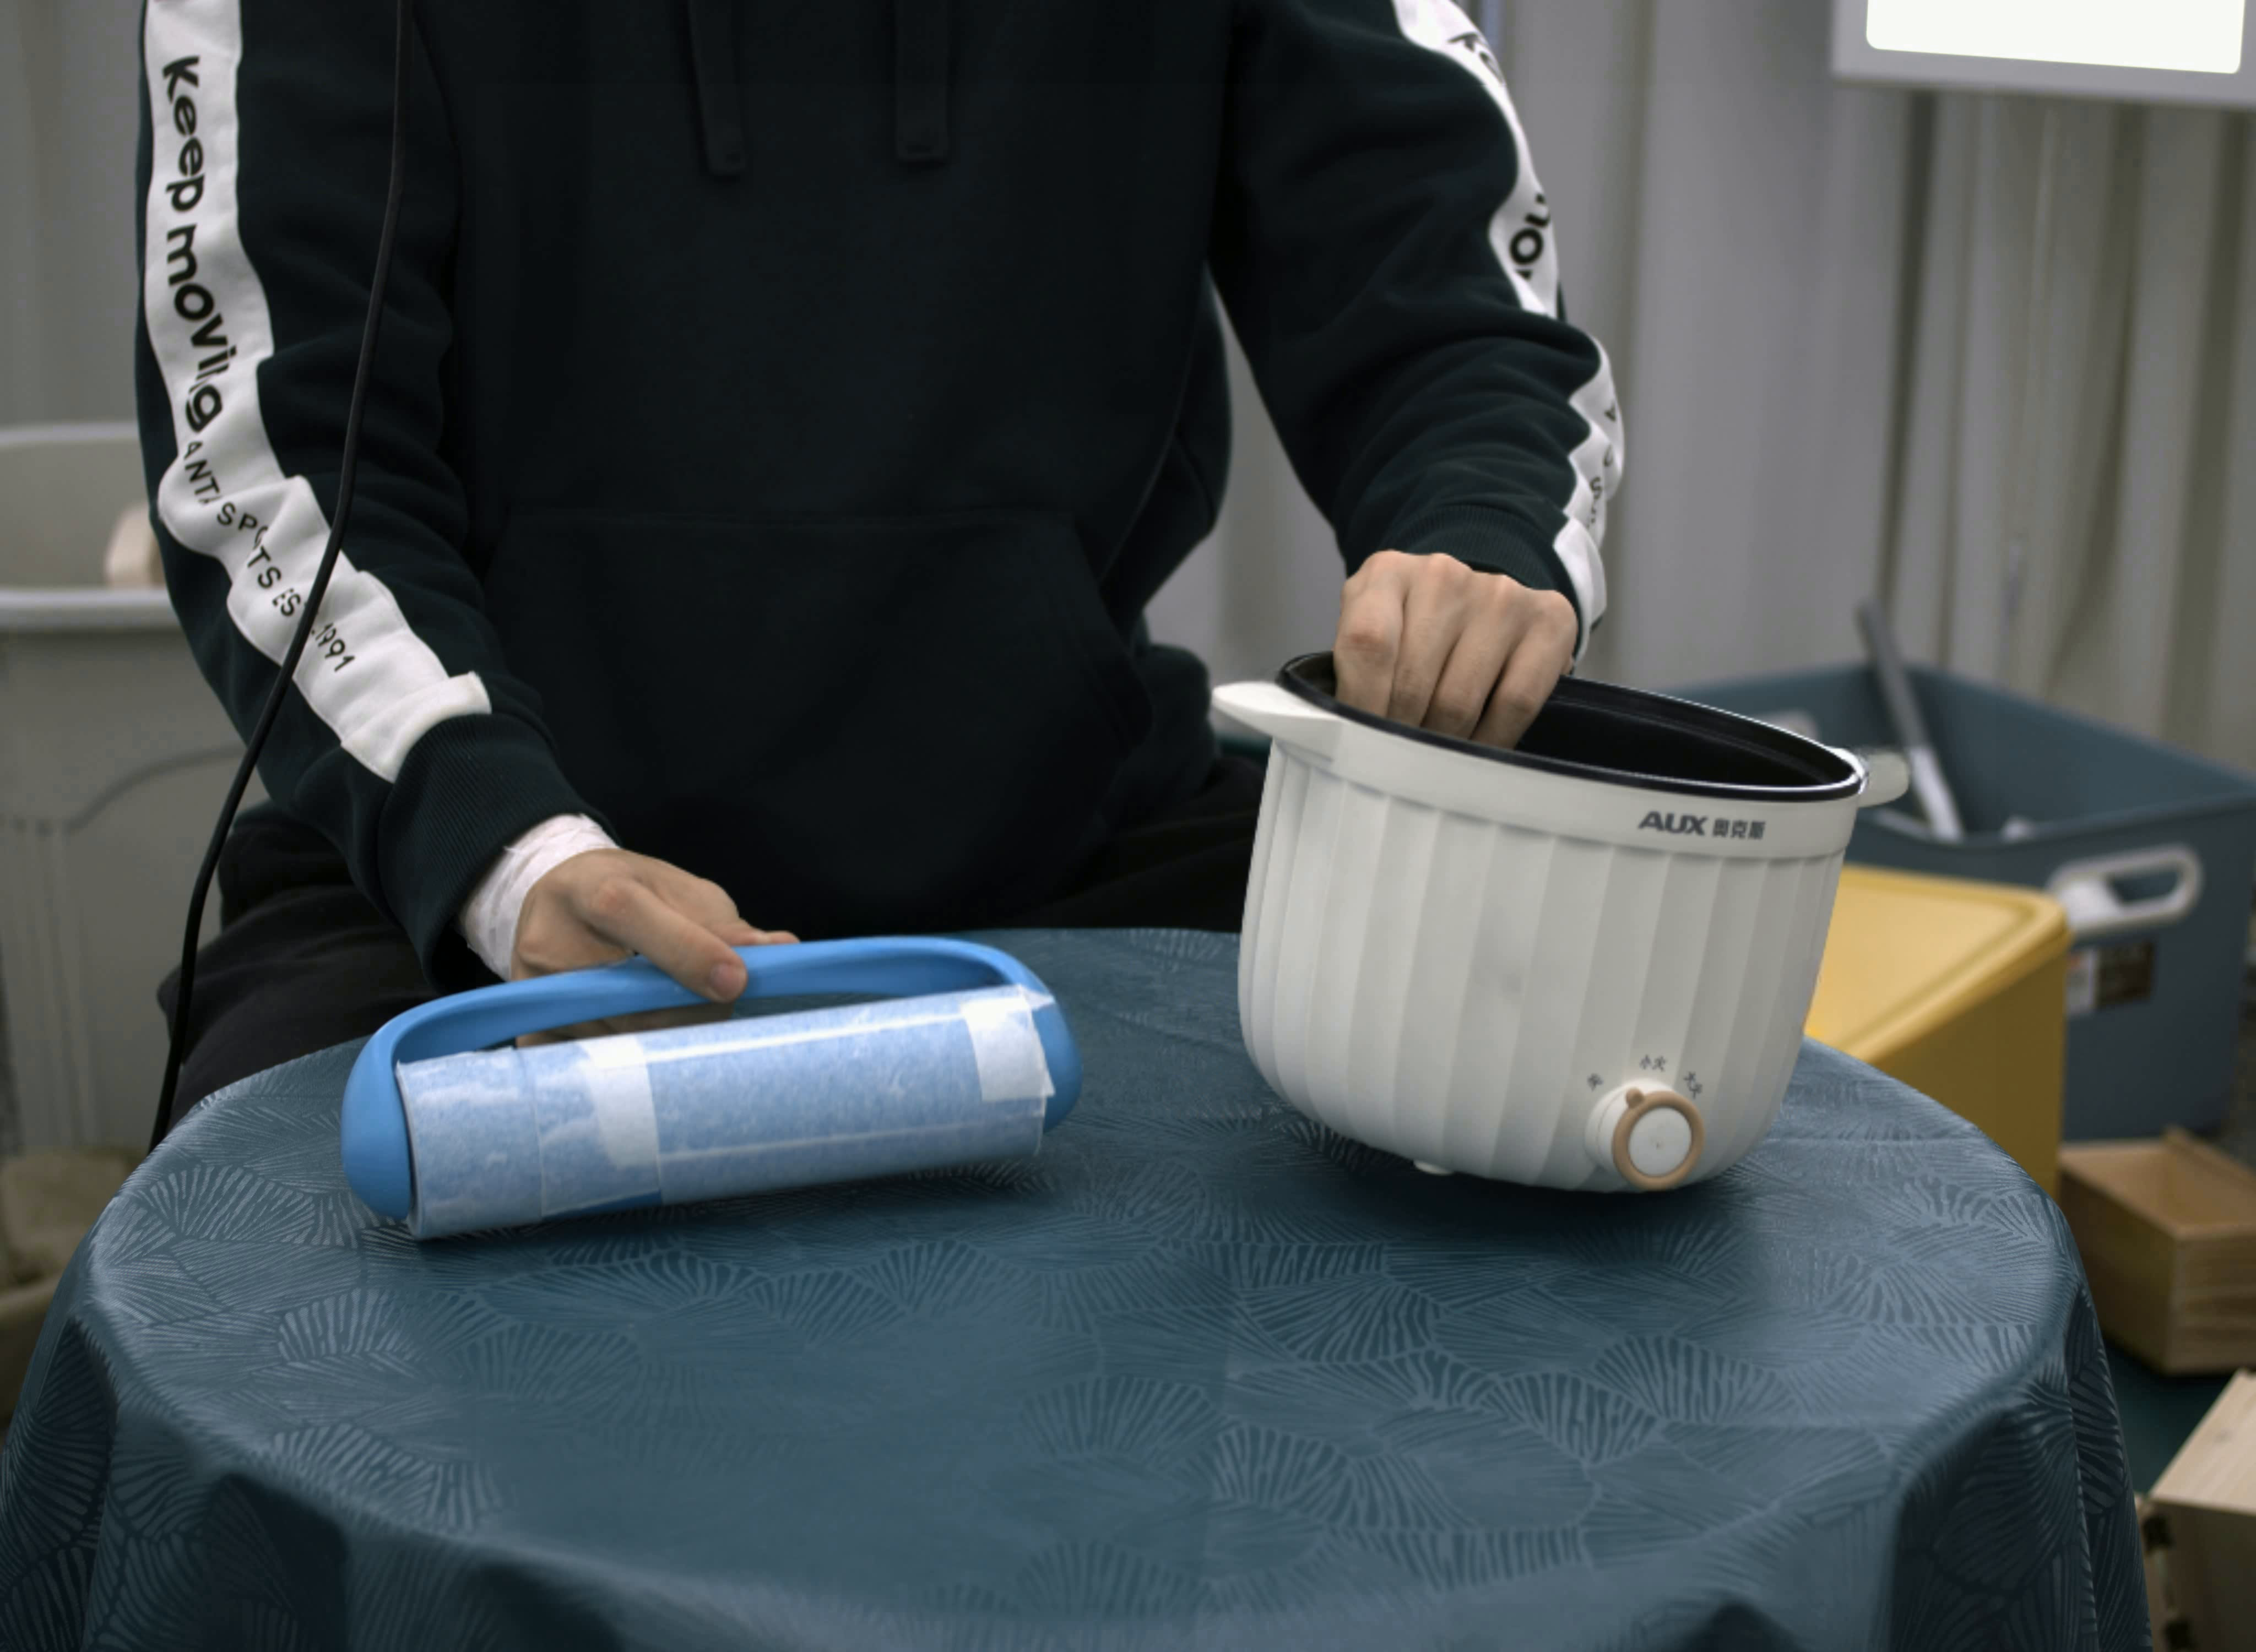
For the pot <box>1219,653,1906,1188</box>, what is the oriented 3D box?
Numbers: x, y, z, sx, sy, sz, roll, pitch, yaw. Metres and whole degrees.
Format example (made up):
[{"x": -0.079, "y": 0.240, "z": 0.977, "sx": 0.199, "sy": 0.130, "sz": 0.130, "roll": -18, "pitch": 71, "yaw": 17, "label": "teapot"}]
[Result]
[{"x": 0.129, "y": 0.032, "z": 1.622, "sx": 0.242, "sy": 0.143, "sz": 0.188, "roll": 5, "pitch": 8, "yaw": -26, "label": "pot"}]

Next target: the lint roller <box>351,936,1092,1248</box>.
[{"x": -0.141, "y": 0.072, "z": 1.643, "sx": 0.229, "sy": 0.068, "sz": 0.178, "roll": -10, "pitch": 16, "yaw": -19, "label": "lint roller"}]
